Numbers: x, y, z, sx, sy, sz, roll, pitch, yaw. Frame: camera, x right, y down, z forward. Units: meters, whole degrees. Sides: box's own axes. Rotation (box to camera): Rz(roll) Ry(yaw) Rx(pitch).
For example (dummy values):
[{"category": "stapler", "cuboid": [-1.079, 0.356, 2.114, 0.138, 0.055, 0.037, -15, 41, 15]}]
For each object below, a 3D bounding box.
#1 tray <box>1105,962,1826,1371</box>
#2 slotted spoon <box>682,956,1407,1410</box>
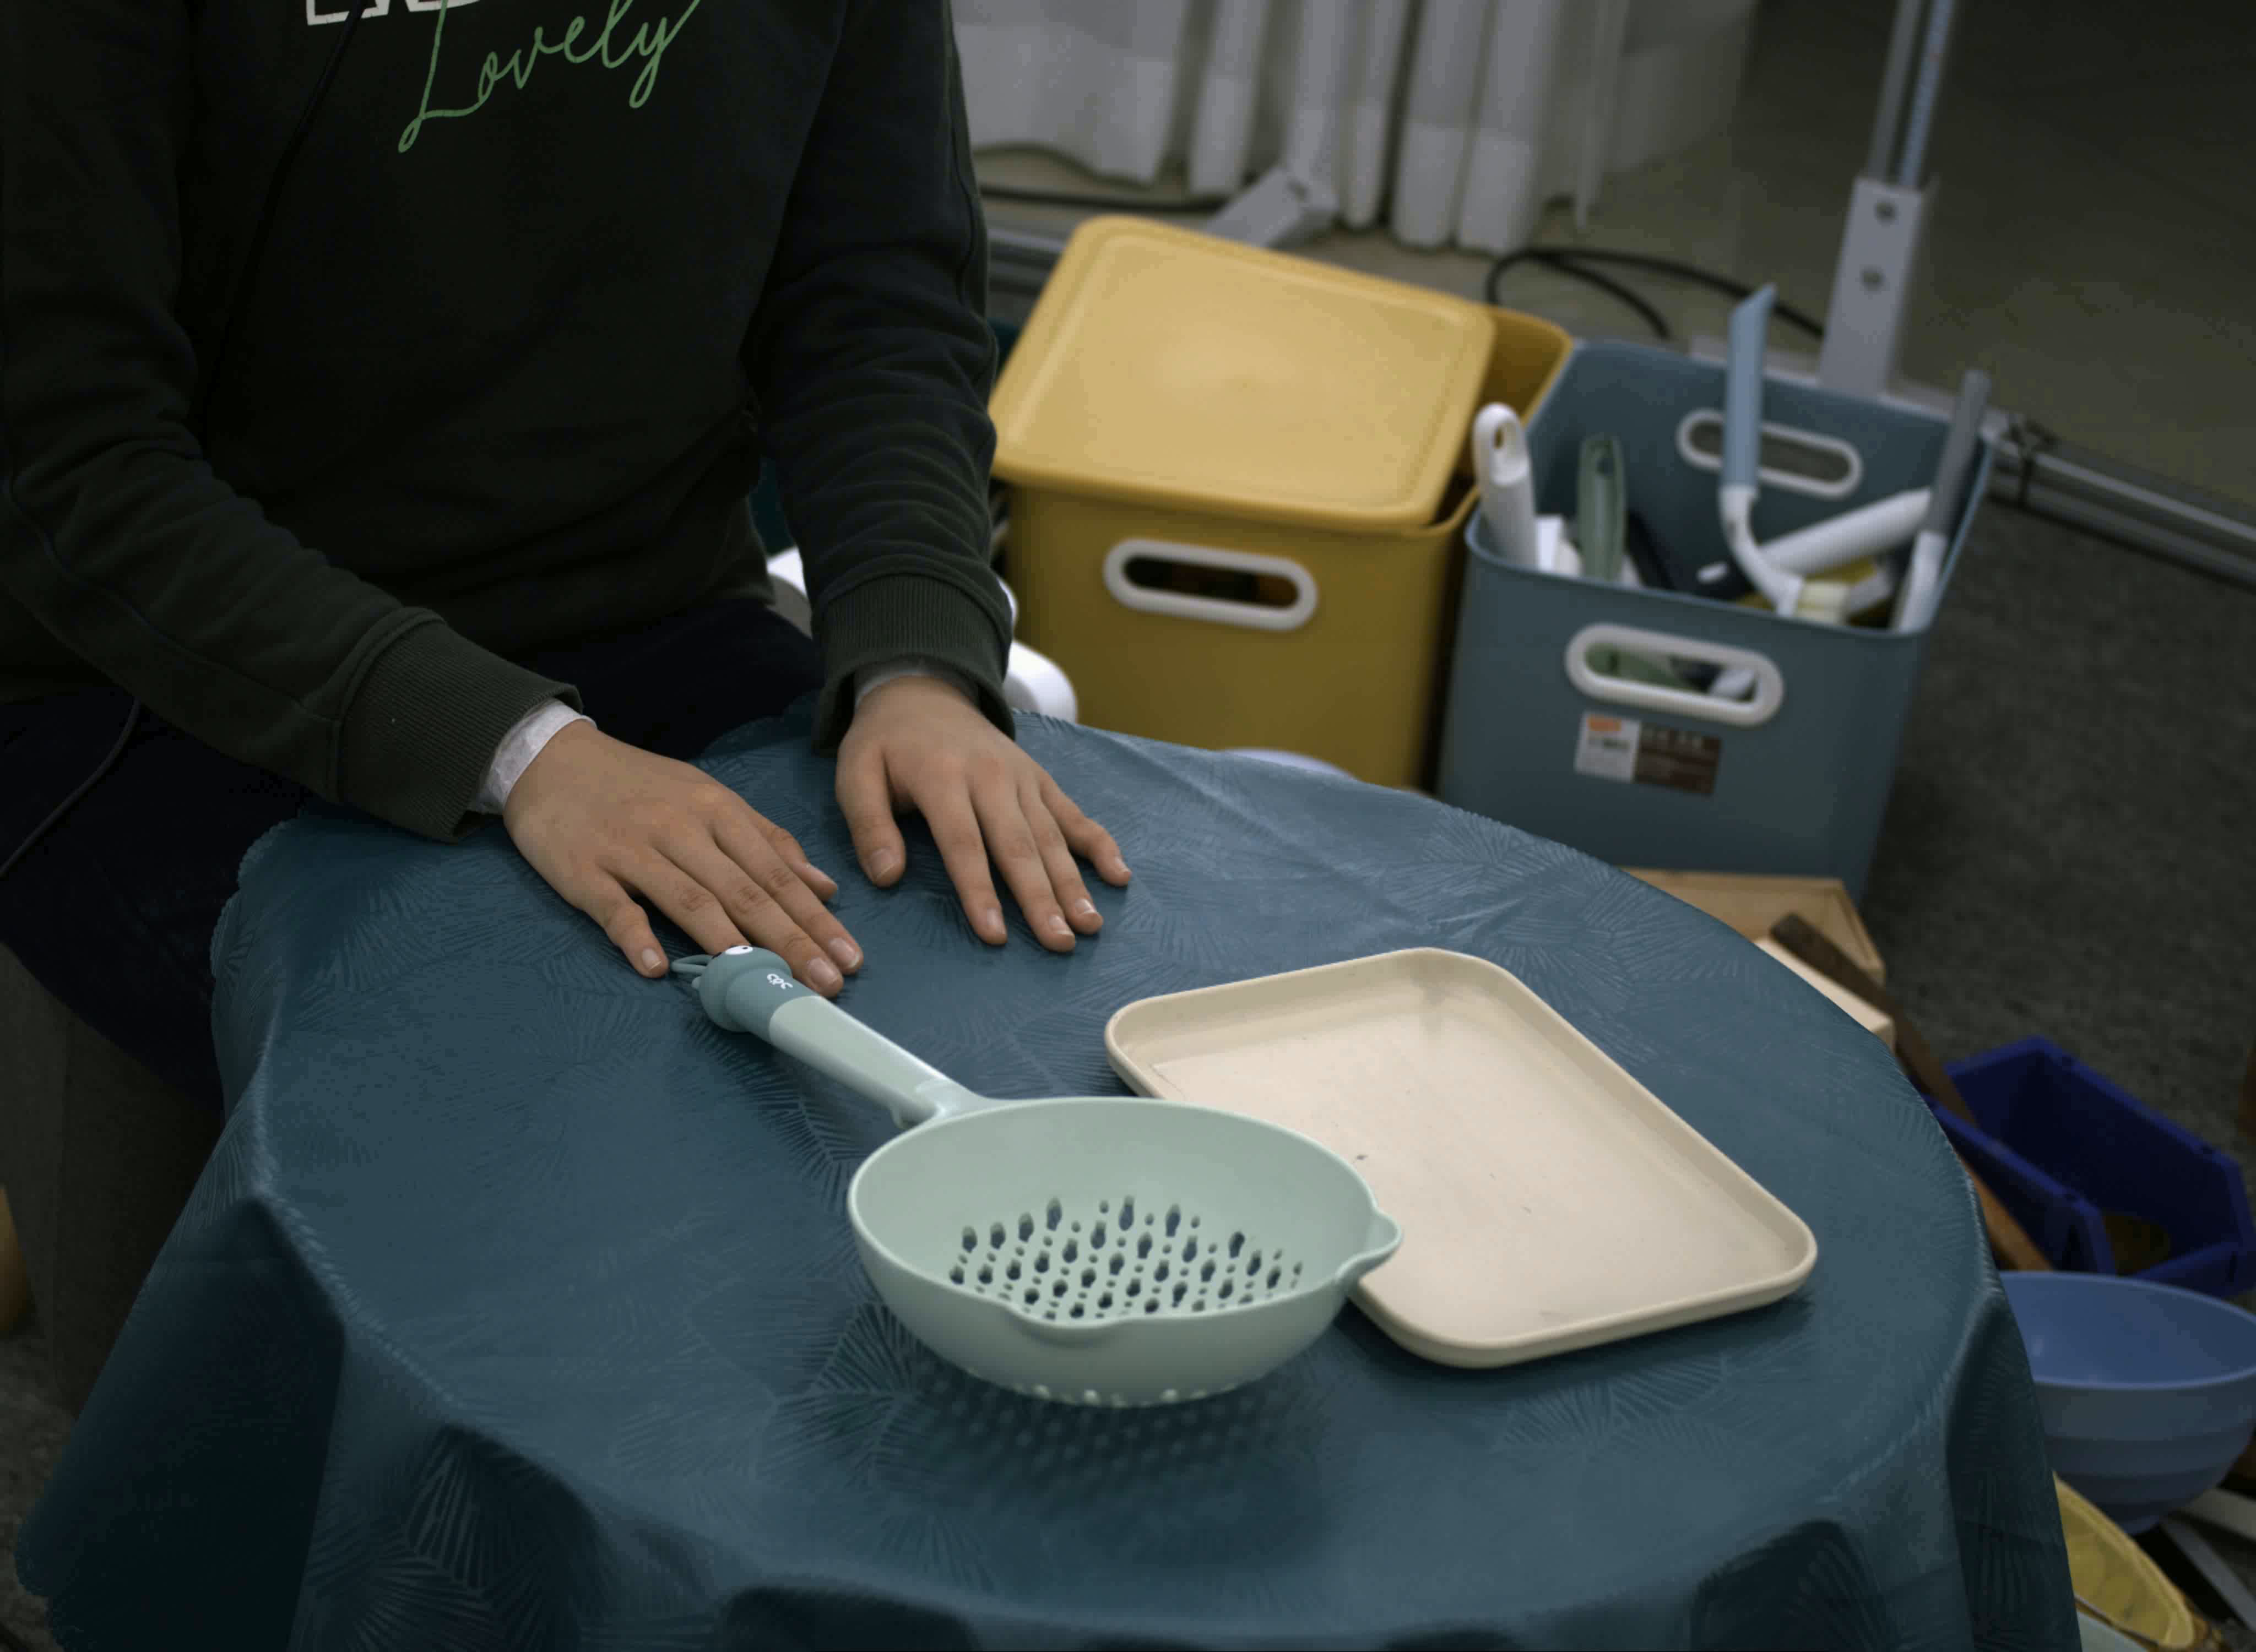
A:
[{"category": "tray", "cuboid": [0.112, 0.115, 1.825, 0.170, 0.017, 0.242, -9, 30, -29]}, {"category": "slotted spoon", "cuboid": [-0.057, 0.102, 1.761, 0.168, 0.075, 0.362, -10, 30, -31]}]
